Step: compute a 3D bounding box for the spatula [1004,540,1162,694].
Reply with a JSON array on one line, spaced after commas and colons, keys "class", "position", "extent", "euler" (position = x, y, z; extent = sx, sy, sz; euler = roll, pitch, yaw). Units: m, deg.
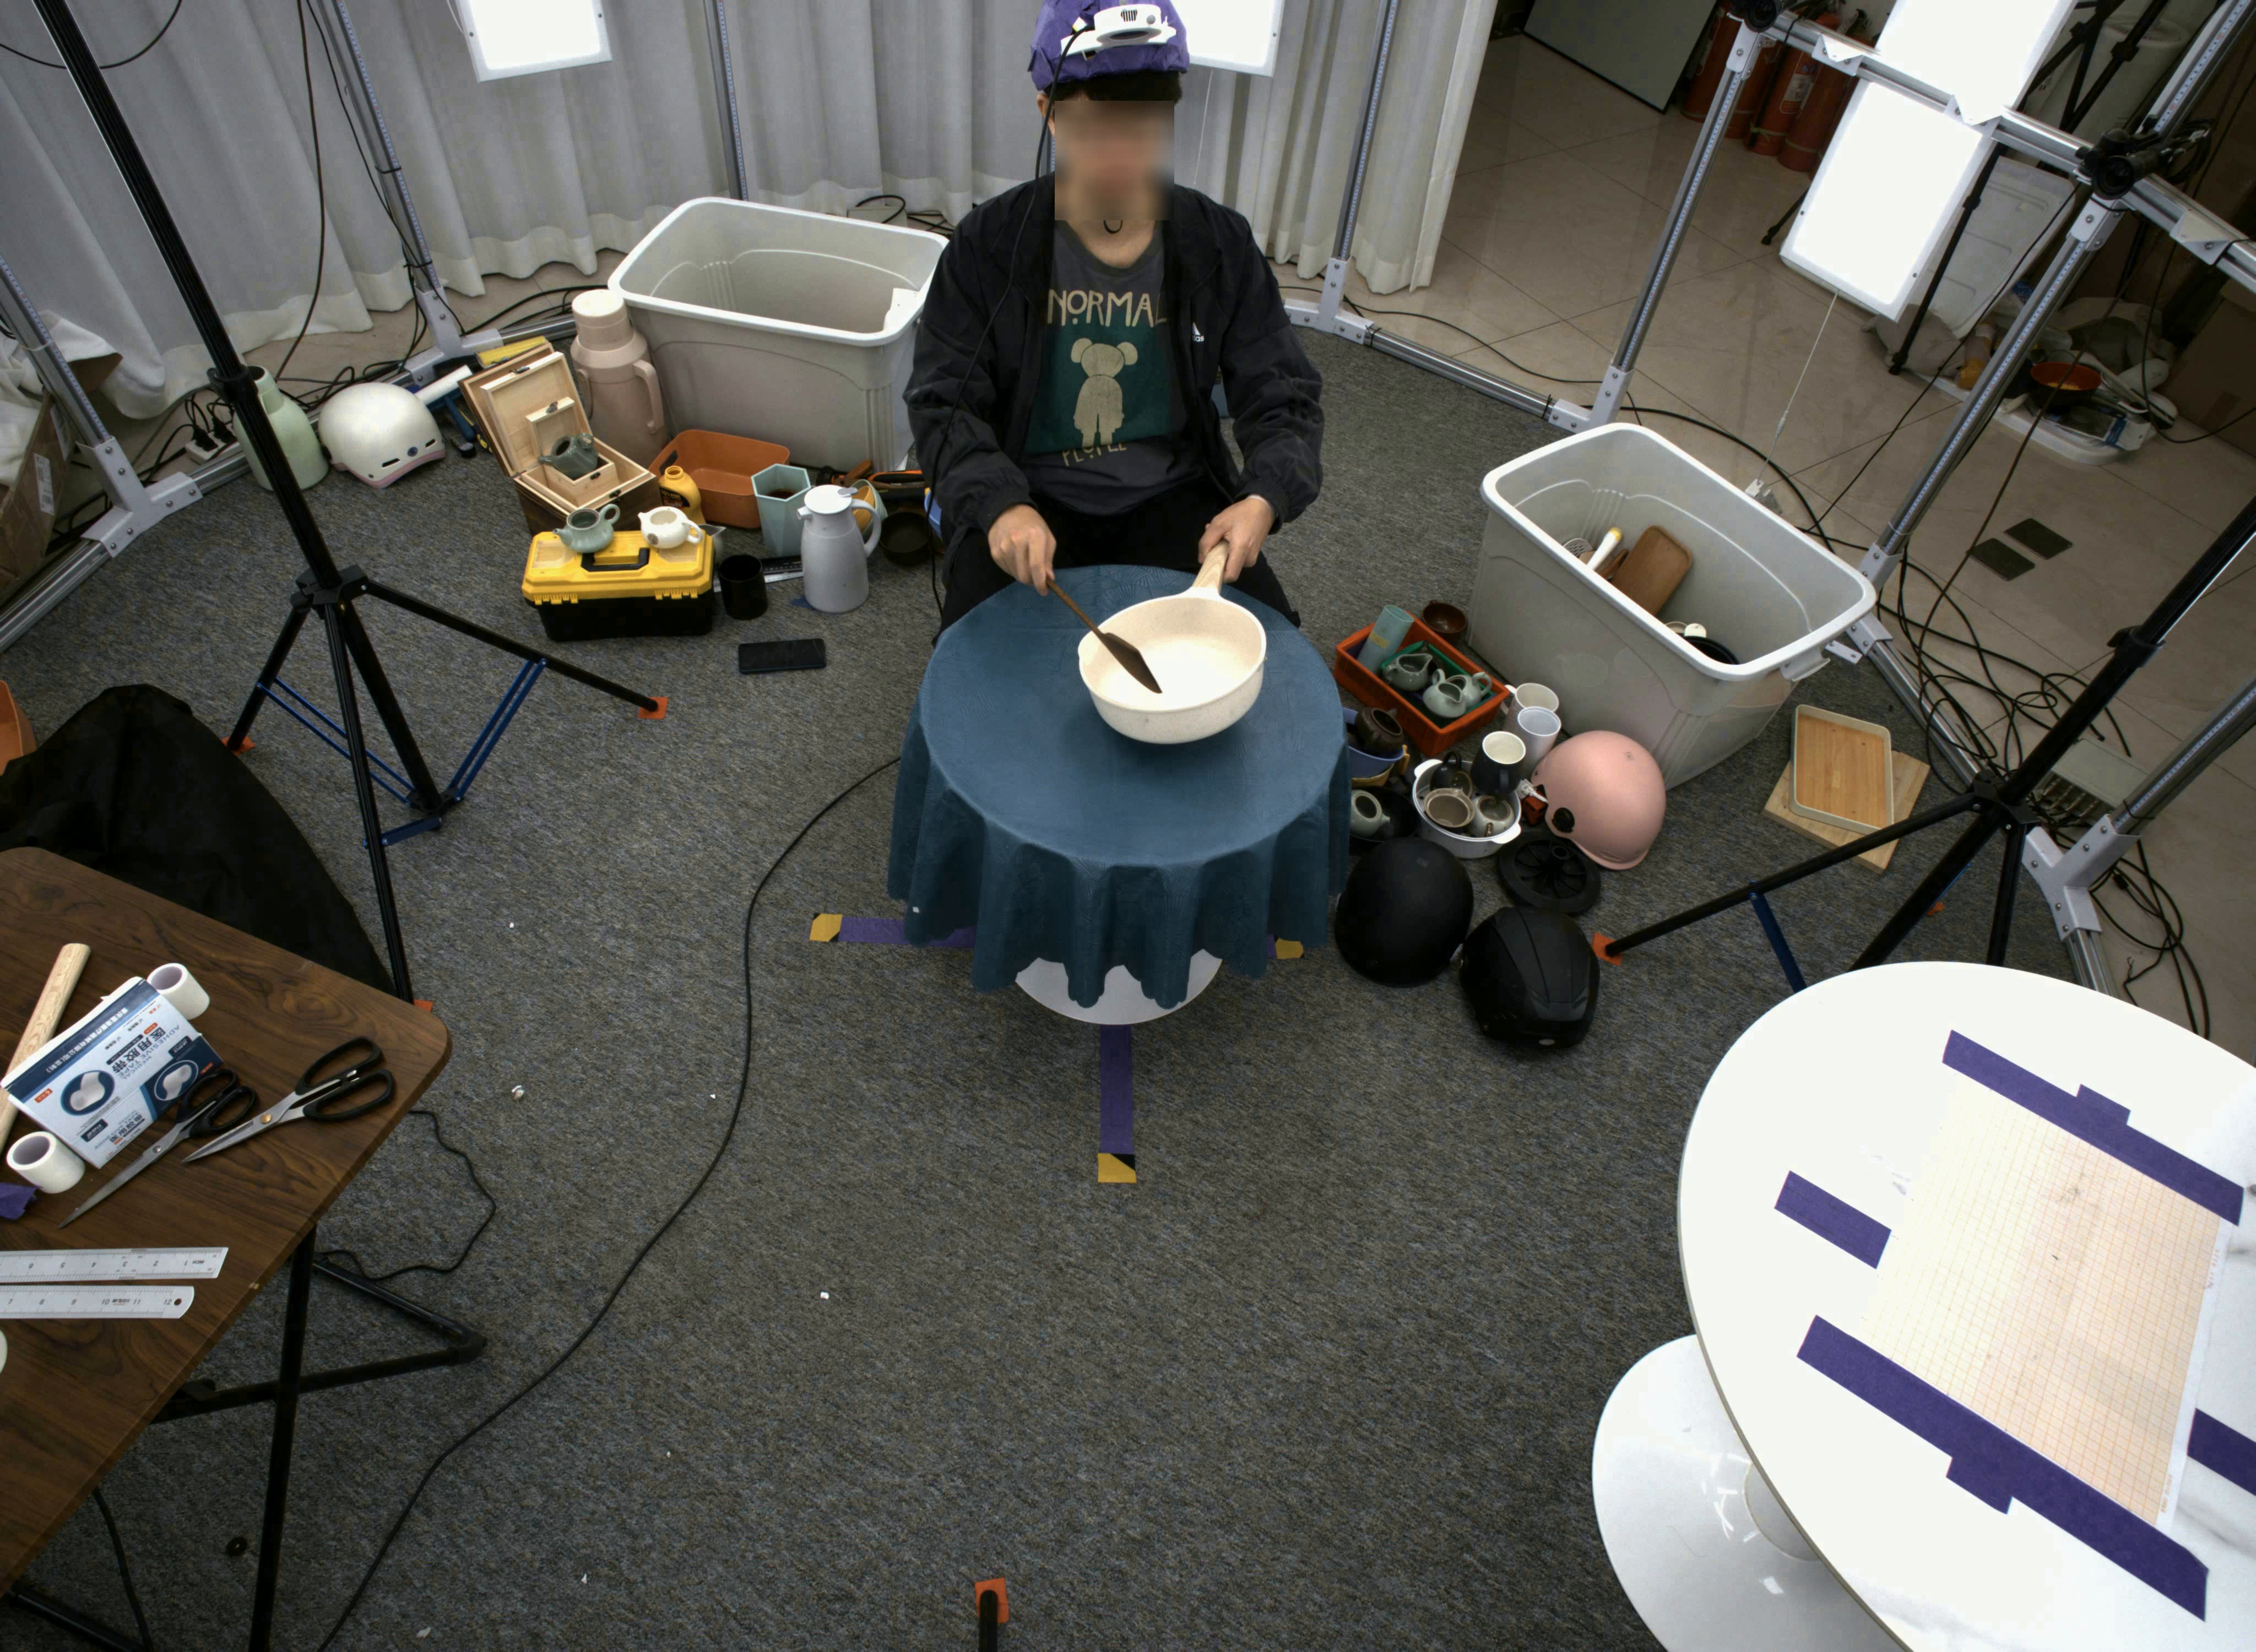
[{"class": "spatula", "position": [-0.070, -0.295, 1.723], "extent": [0.016, 0.094, 0.394], "euler": [-39, 50, -4]}]

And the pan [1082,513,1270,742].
[{"class": "pan", "position": [0.099, -0.277, 1.795], "extent": [0.264, 0.099, 0.443], "euler": [6, 45, 22]}]
